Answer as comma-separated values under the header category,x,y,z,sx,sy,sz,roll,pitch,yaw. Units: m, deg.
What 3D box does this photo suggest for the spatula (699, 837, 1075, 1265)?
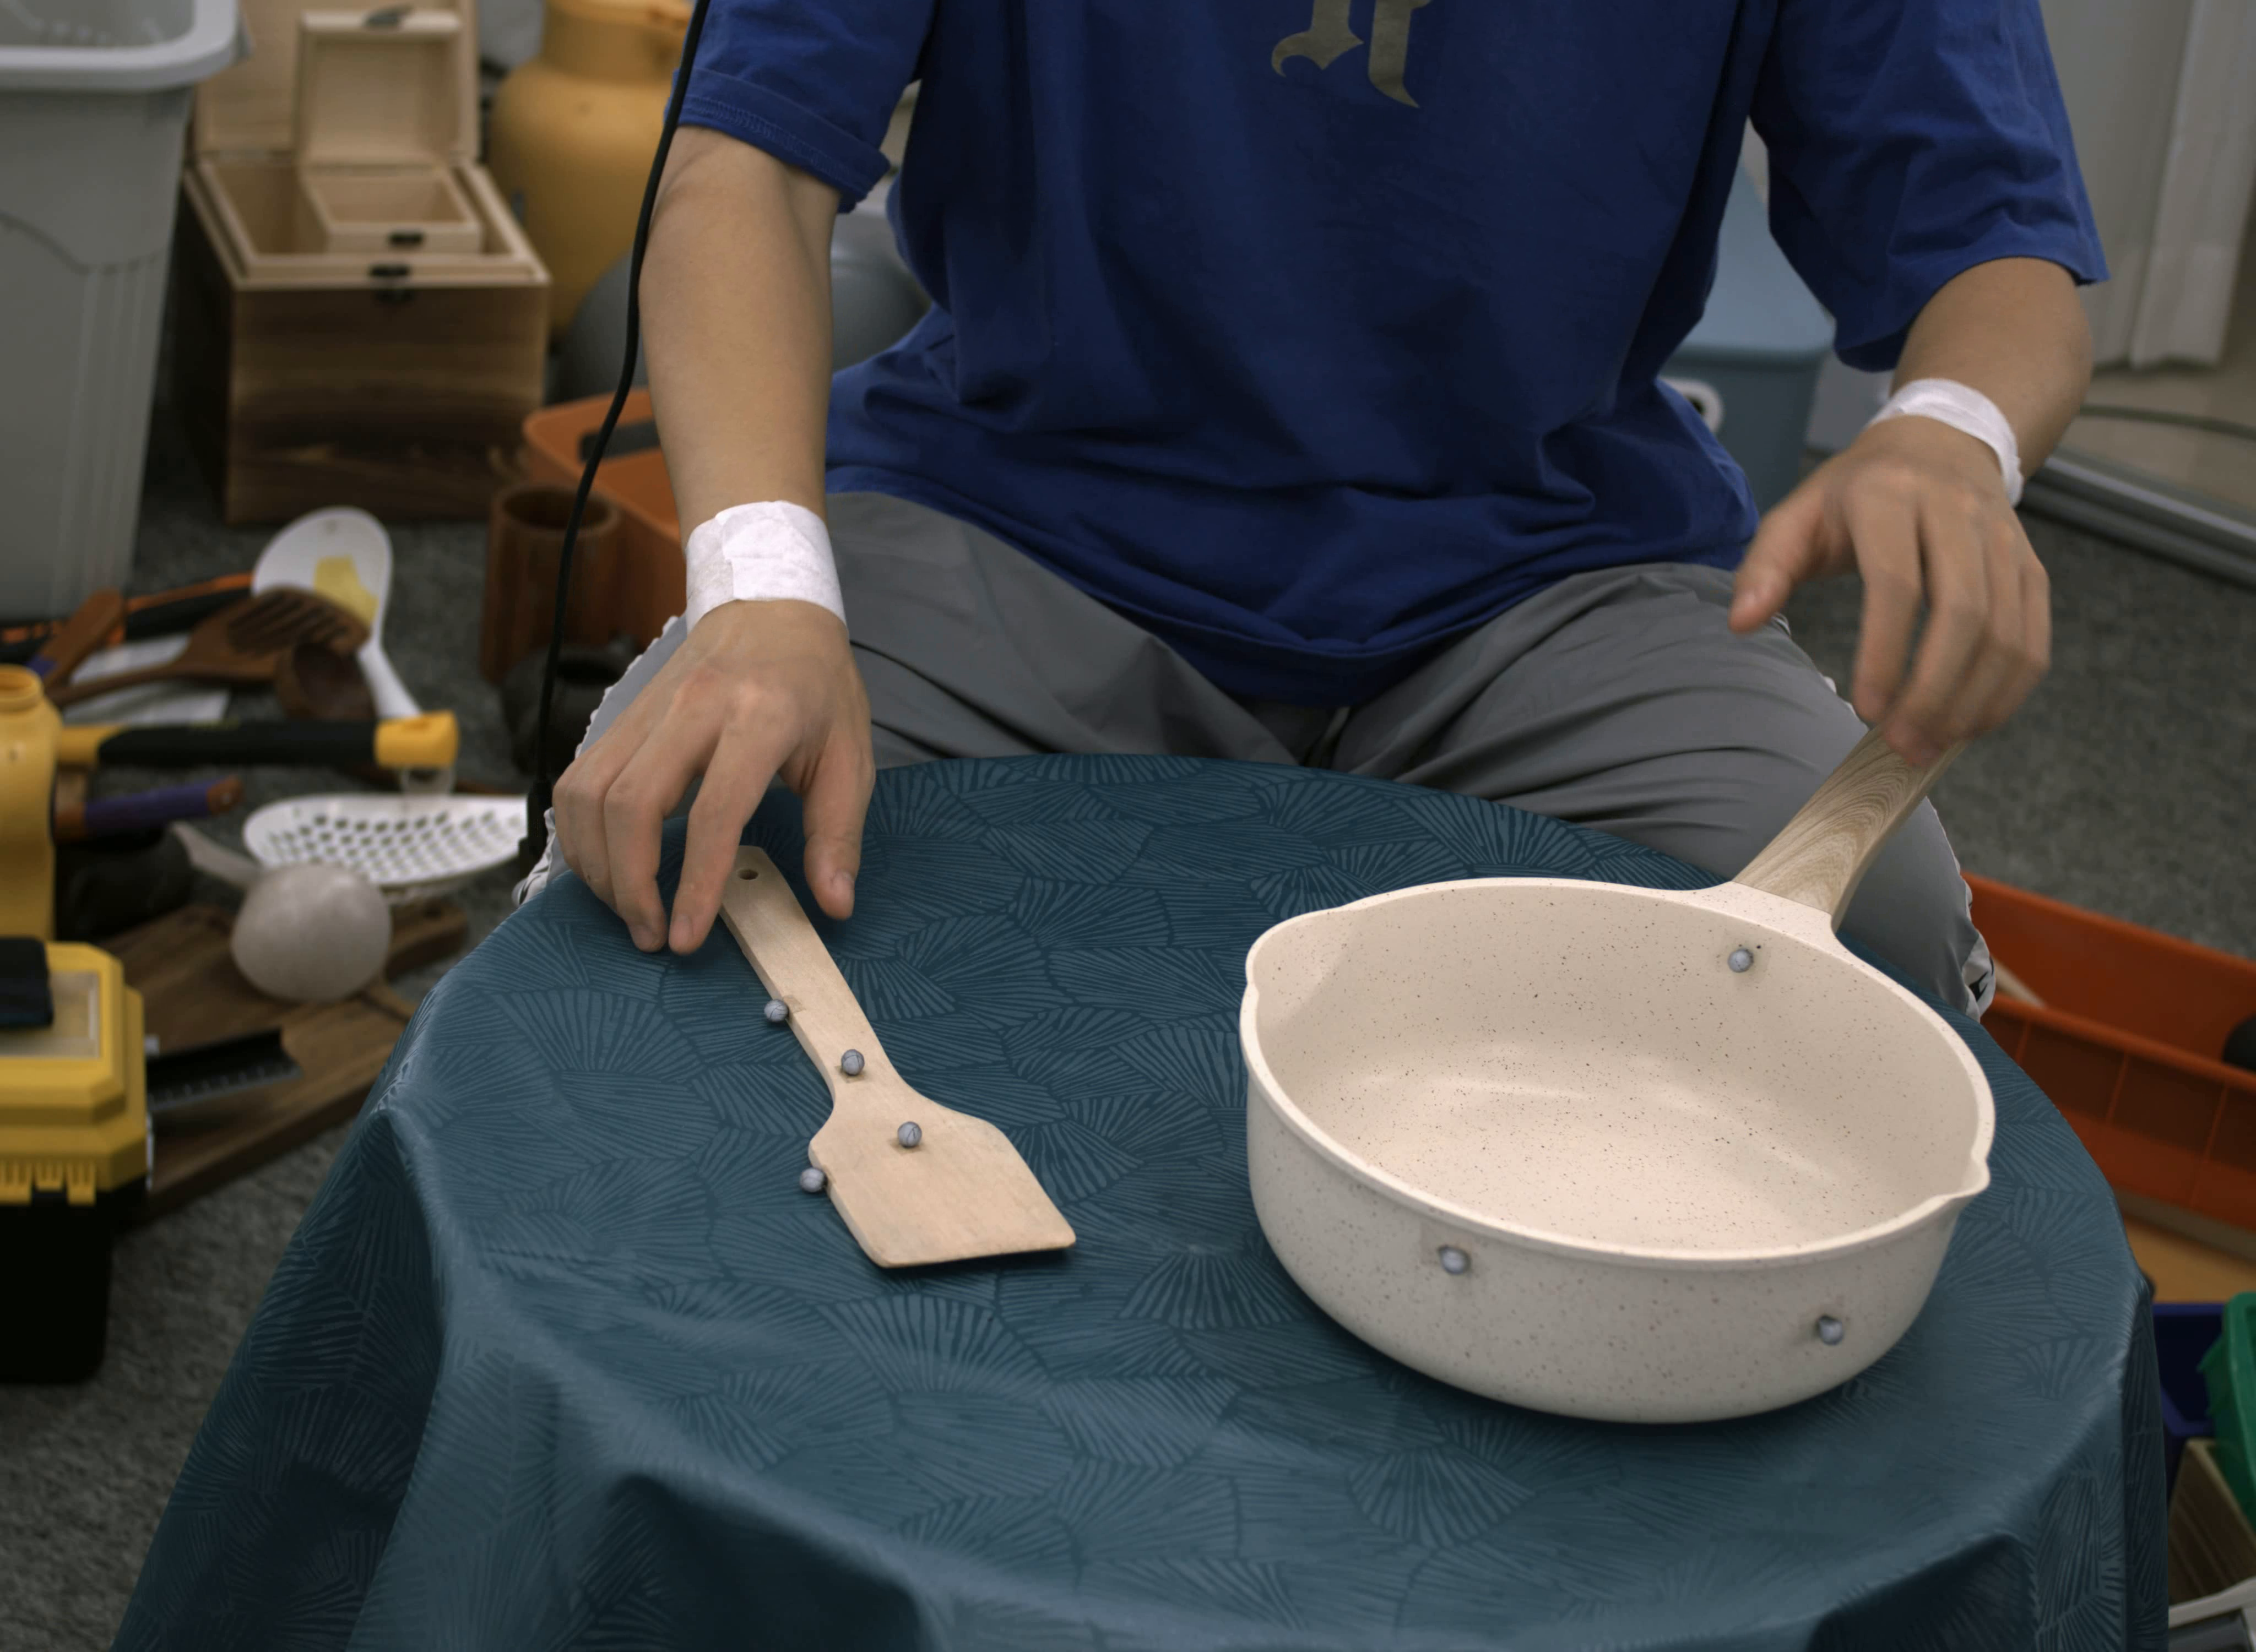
category,x,y,z,sx,sy,sz,roll,pitch,yaw
spatula,-0.100,0.075,1.866,0.072,0.010,0.295,-6,30,-20

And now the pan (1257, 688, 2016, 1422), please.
category,x,y,z,sx,sy,sz,roll,pitch,yaw
pan,0.205,0.072,1.841,0.264,0.101,0.434,16,28,22
